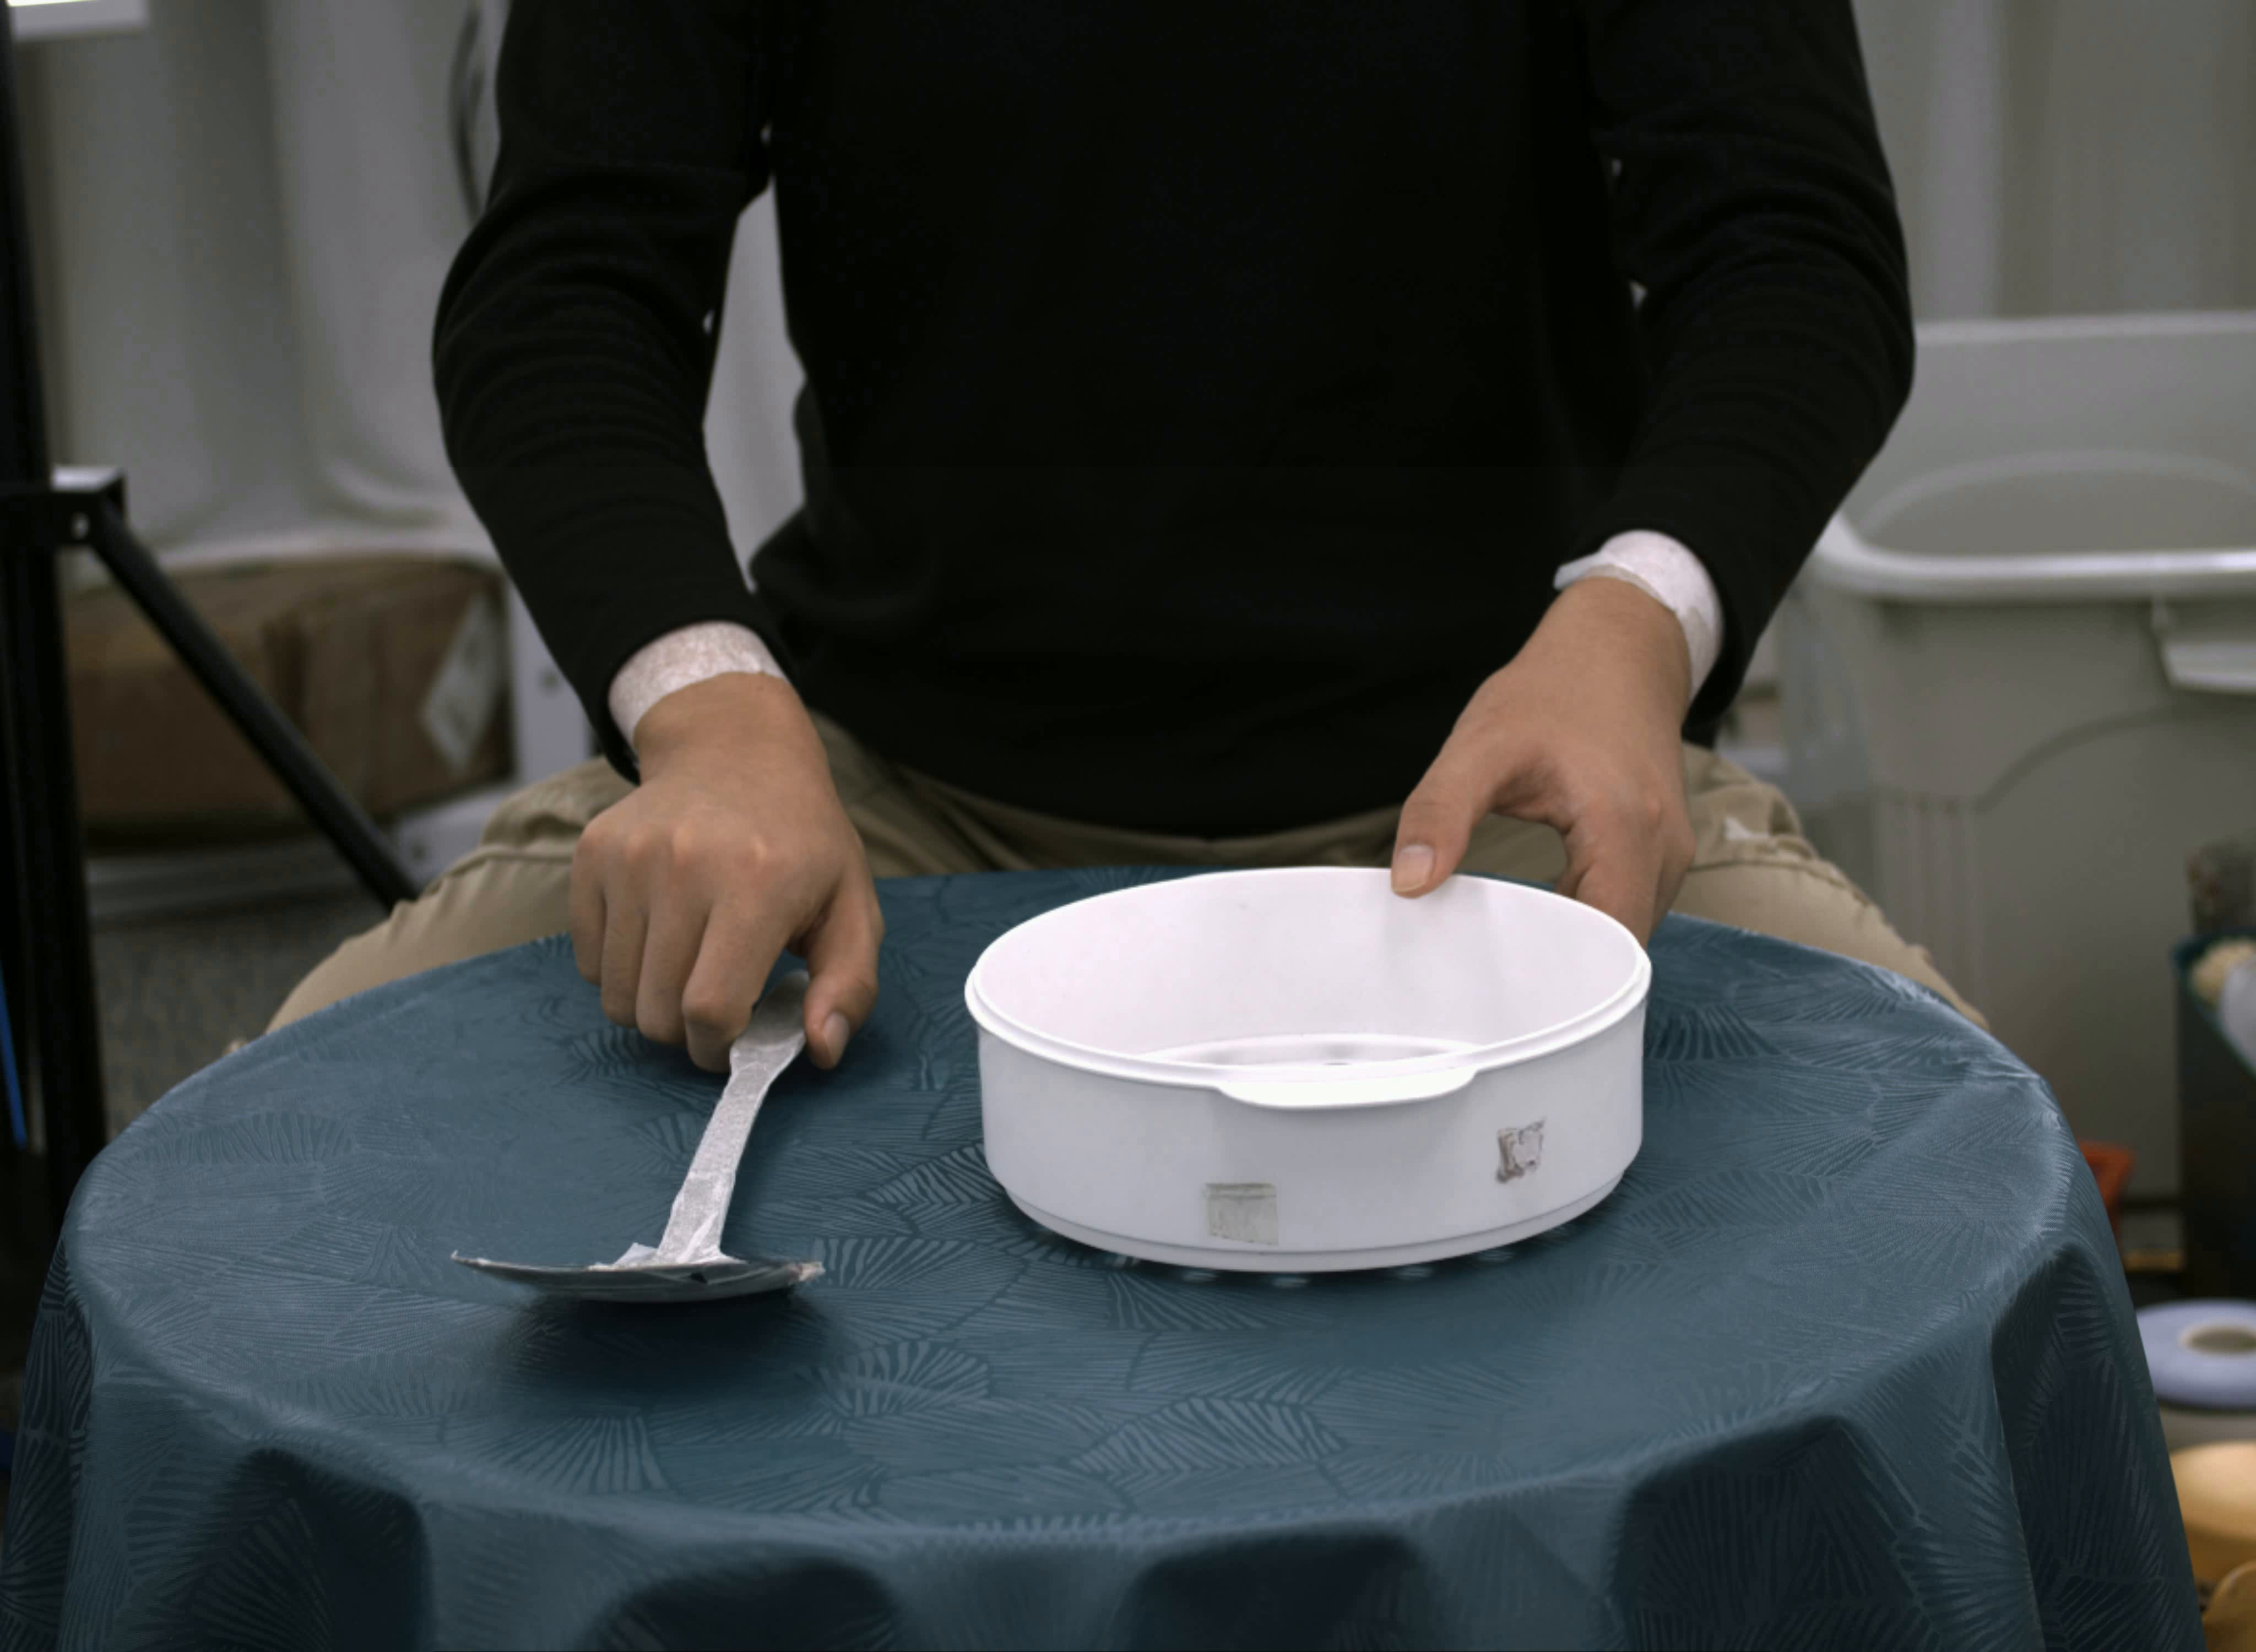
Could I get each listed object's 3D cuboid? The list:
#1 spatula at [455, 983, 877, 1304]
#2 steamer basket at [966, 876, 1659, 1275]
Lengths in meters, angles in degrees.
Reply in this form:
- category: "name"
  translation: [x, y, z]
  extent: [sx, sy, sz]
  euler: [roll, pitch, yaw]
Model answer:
- category: "spatula"
  translation: [-0.115, 0.085, 1.587]
  extent: [0.099, 0.045, 0.364]
  euler: [-3, 16, 7]
- category: "steamer basket"
  translation: [0.054, 0.072, 1.548]
  extent: [0.200, 0.069, 0.232]
  euler: [-2, 15, -3]
